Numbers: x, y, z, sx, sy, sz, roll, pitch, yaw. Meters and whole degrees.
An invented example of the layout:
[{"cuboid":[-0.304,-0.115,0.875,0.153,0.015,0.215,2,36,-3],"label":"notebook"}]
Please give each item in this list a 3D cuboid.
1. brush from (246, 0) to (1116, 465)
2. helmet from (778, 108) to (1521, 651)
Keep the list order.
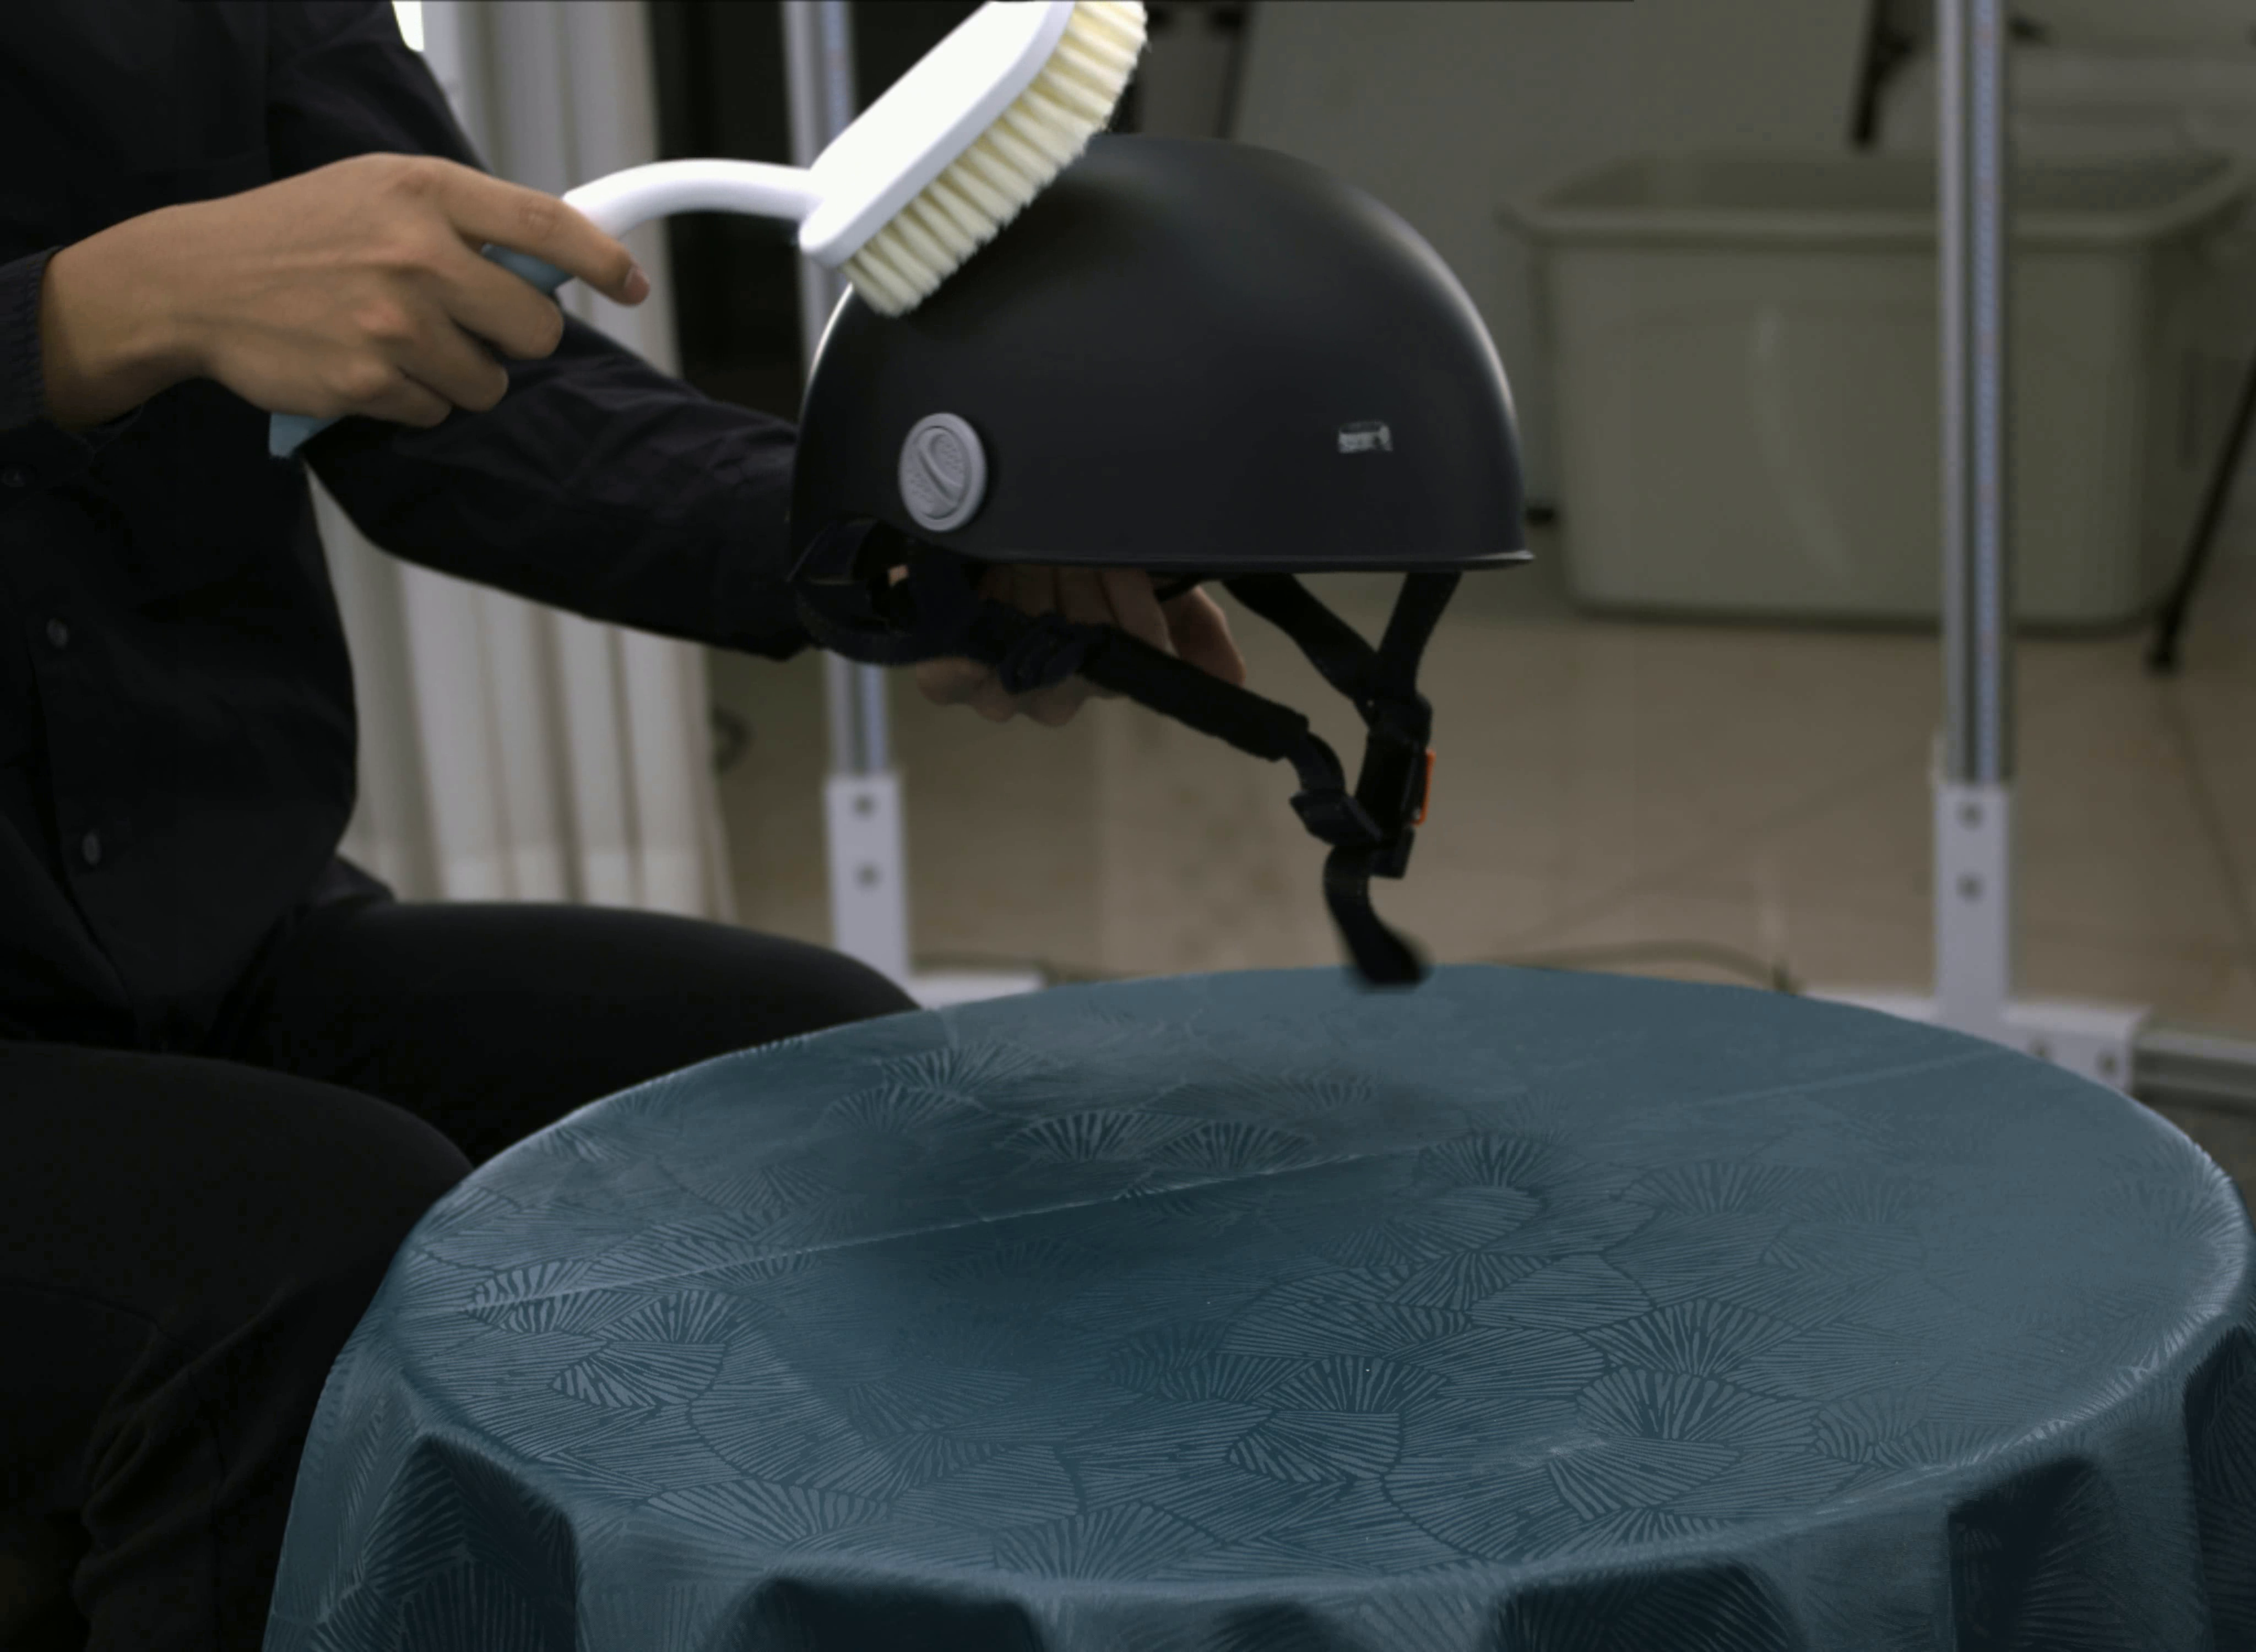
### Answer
[{"cuboid":[-0.136,-0.181,1.737,0.325,0.085,0.082,-30,-10,15],"label":"brush"},{"cuboid":[0.005,-0.152,1.778,0.225,0.169,0.276,-3,-1,-30],"label":"helmet"}]
